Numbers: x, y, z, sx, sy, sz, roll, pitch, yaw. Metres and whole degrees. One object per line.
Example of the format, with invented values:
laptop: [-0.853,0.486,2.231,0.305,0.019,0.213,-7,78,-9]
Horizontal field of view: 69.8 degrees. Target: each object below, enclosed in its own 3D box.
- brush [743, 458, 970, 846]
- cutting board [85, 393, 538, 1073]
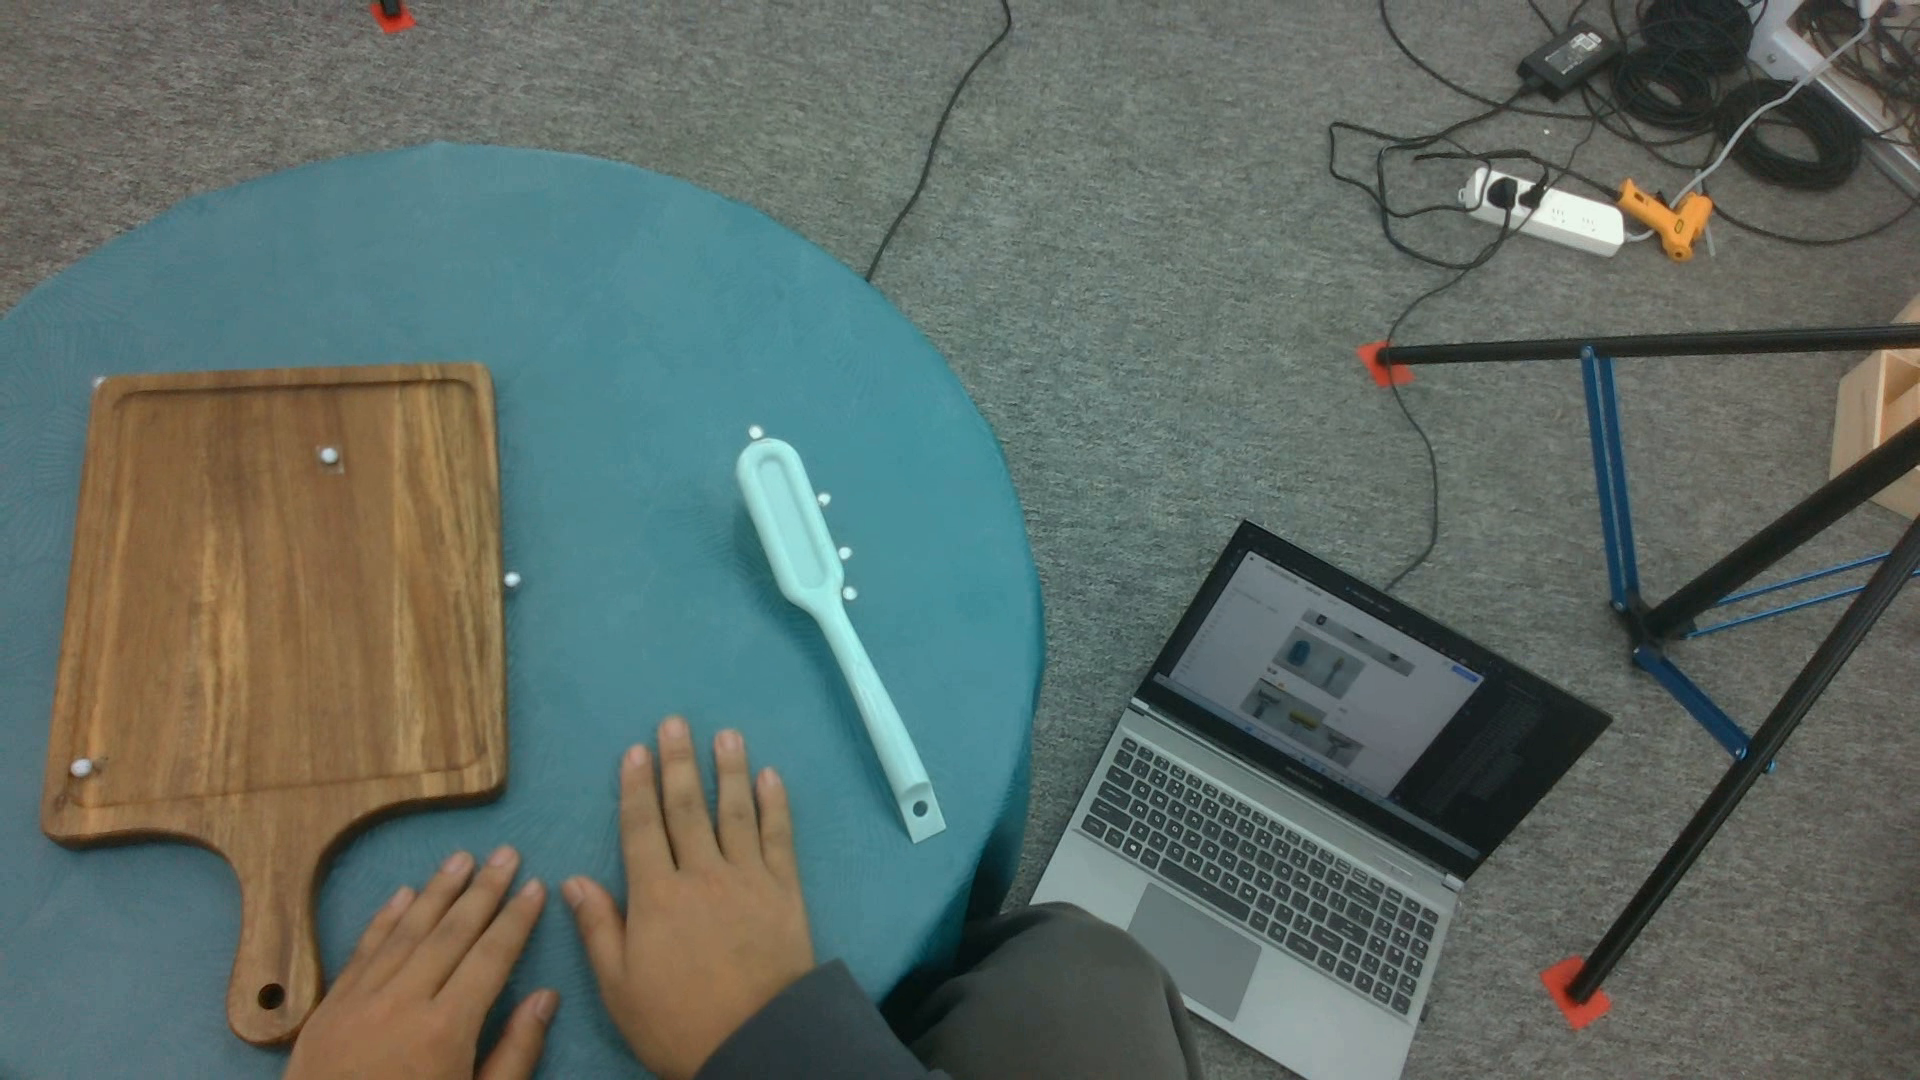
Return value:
brush: [-0.056,0.059,0.745,0.038,0.049,0.229,-26,76,-16]
cutting board: [-0.320,0.081,0.687,0.201,0.023,0.353,-6,62,-14]
